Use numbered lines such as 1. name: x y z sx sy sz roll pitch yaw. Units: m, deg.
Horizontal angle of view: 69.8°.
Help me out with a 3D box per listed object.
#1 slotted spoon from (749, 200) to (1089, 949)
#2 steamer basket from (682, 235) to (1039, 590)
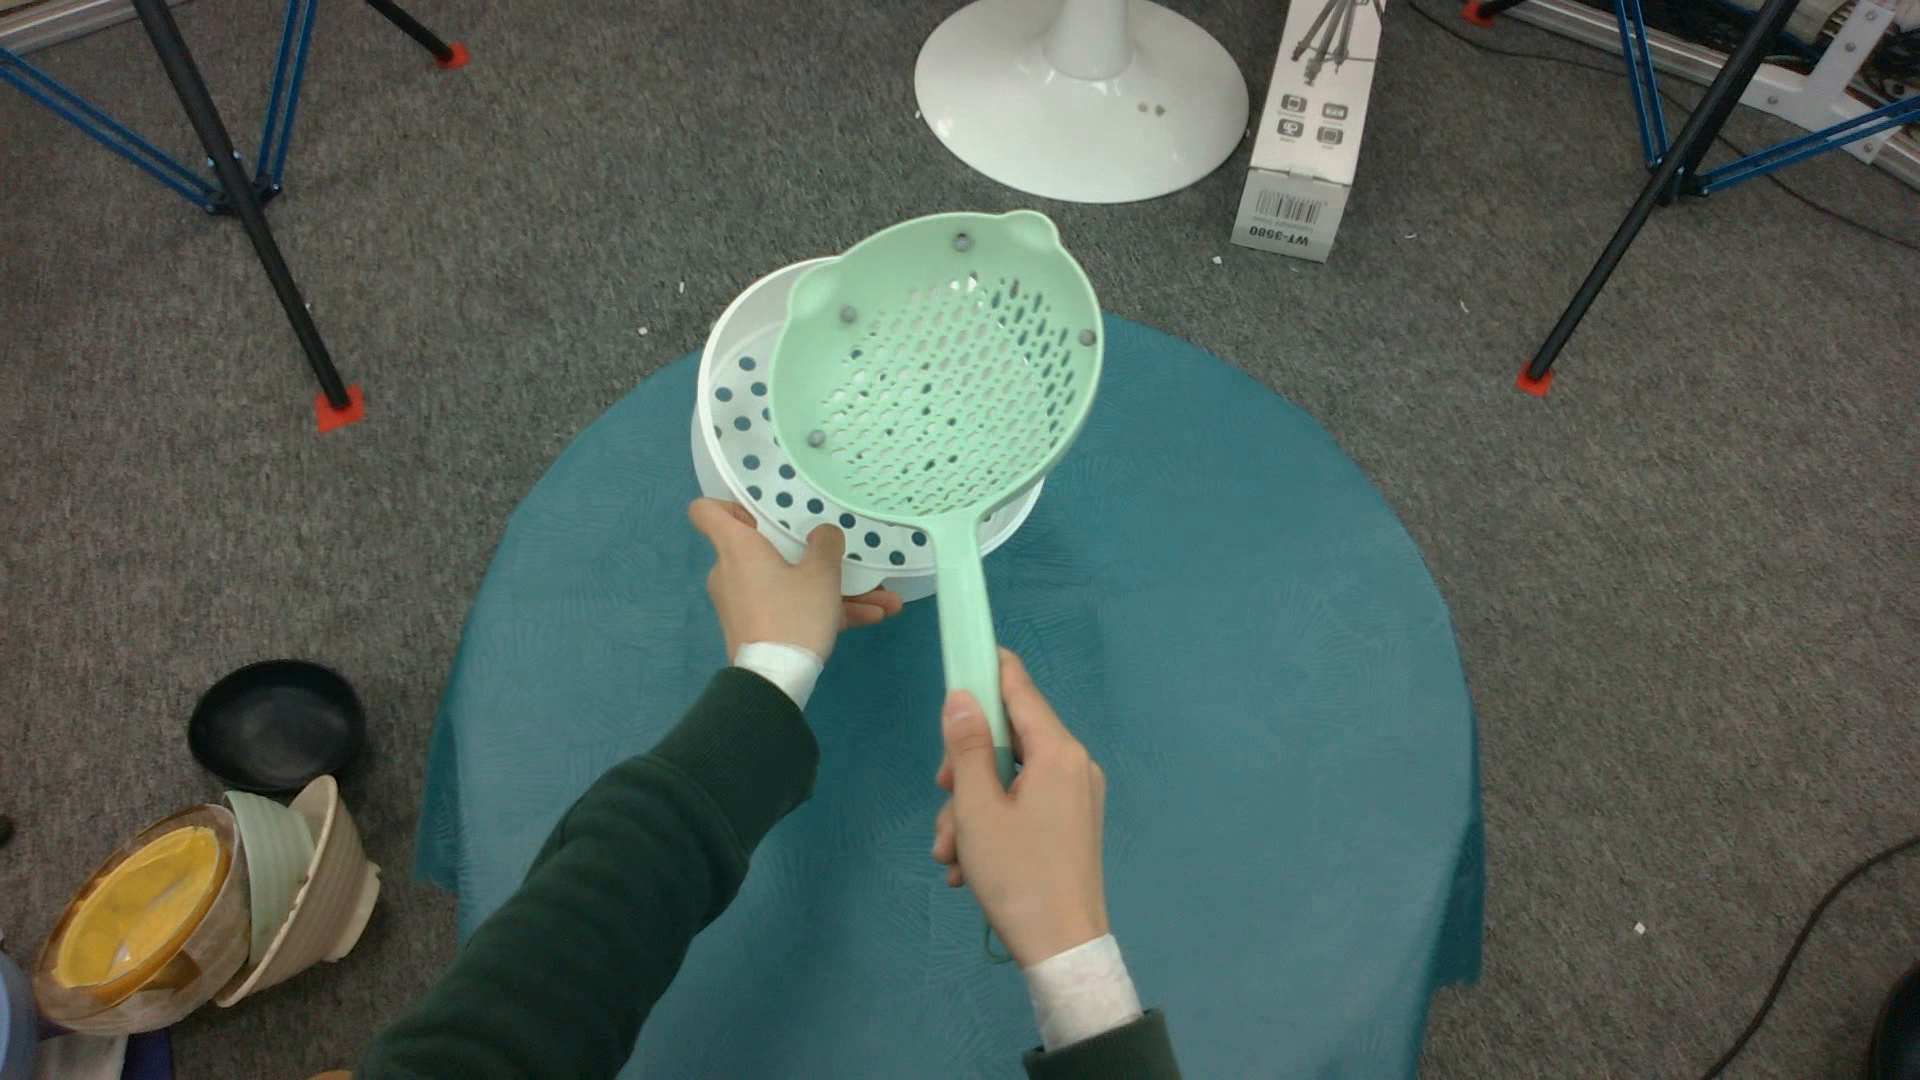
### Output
1. slotted spoon: -0.007 -0.001 0.633 0.169 0.075 0.360 -13 56 11
2. steamer basket: -0.058 -0.069 0.787 0.202 0.069 0.231 23 60 -8
